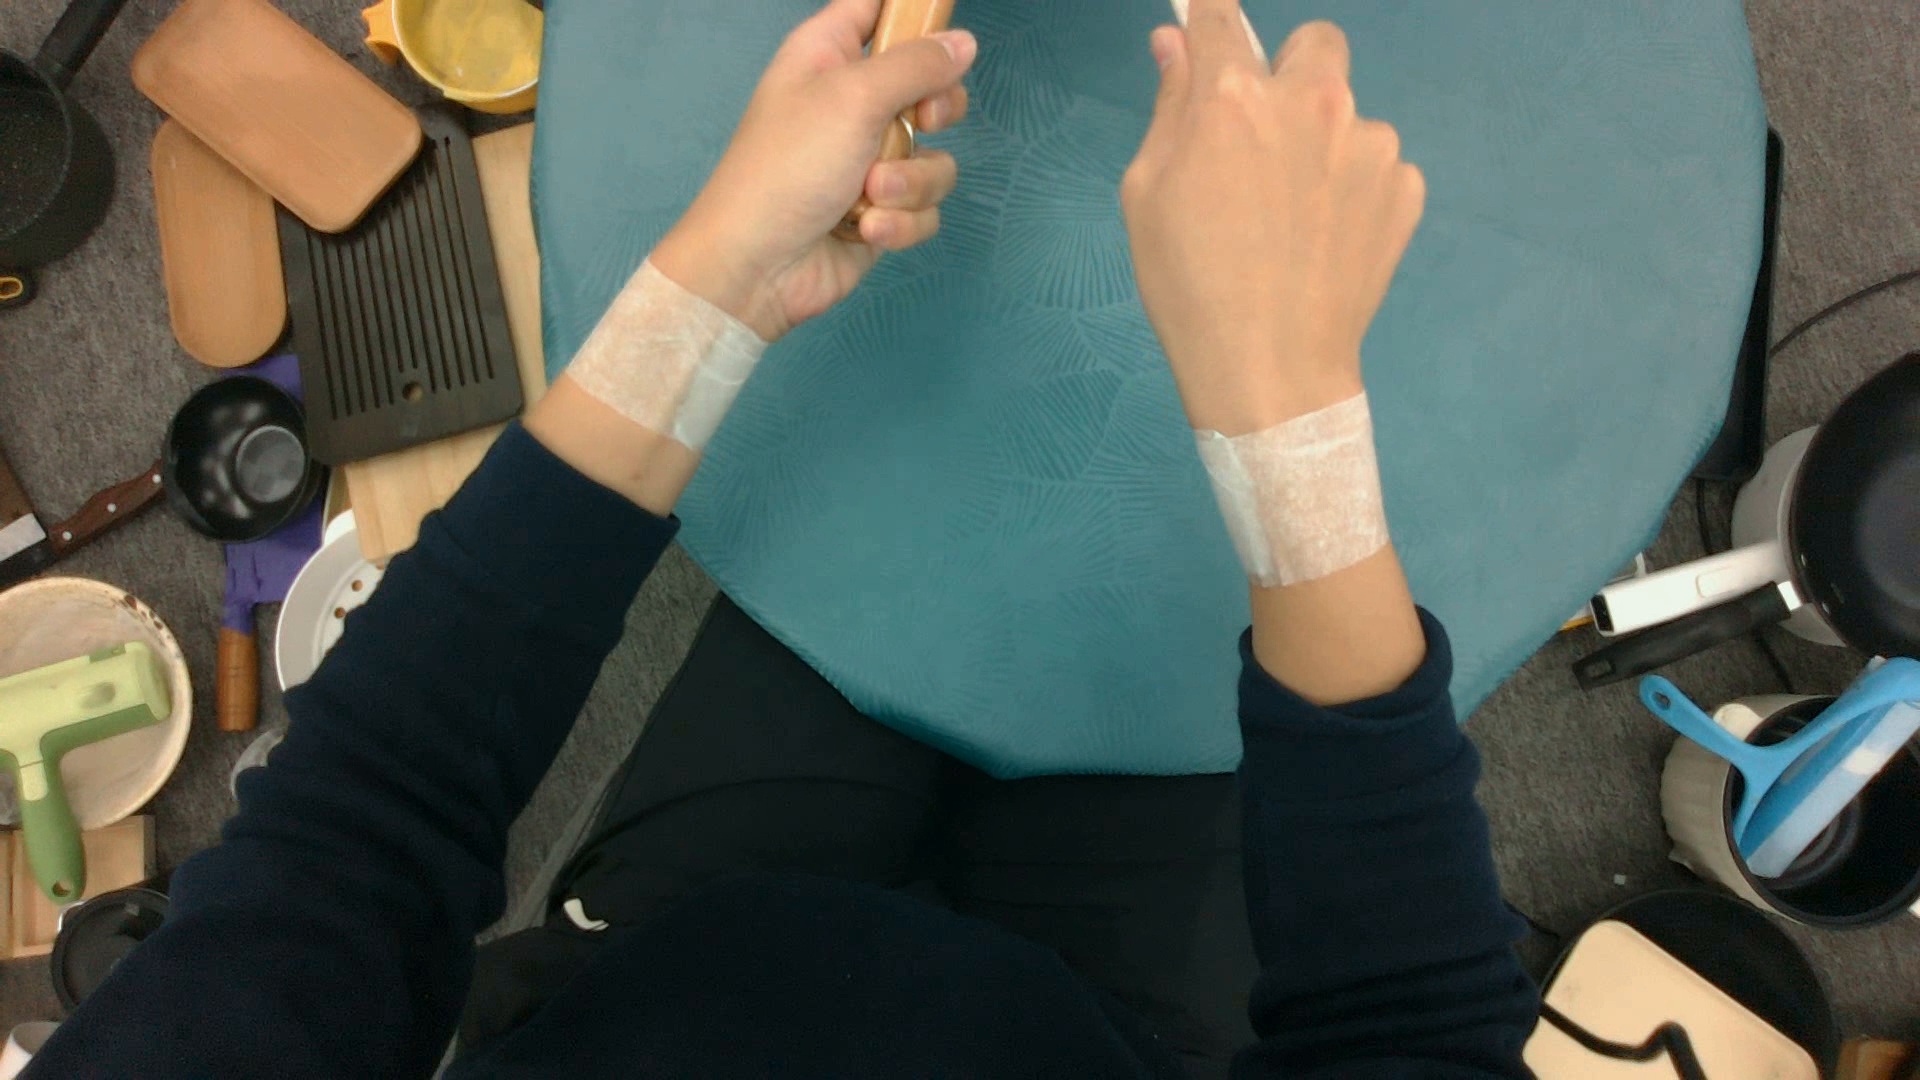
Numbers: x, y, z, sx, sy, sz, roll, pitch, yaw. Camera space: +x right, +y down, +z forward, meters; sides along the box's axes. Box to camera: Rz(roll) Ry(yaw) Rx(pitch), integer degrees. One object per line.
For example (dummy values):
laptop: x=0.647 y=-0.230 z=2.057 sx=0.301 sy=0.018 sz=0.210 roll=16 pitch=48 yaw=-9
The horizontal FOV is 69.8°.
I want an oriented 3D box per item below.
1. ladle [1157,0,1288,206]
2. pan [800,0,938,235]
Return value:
ladle: x=0.073 y=-0.242 z=0.497 sx=0.089 sy=0.069 sz=0.275 roll=-6 pitch=58 yaw=-21
pan: x=-0.003 y=-0.274 z=0.564 sx=0.207 sy=0.108 sz=0.343 roll=17 pitch=84 yaw=-10
